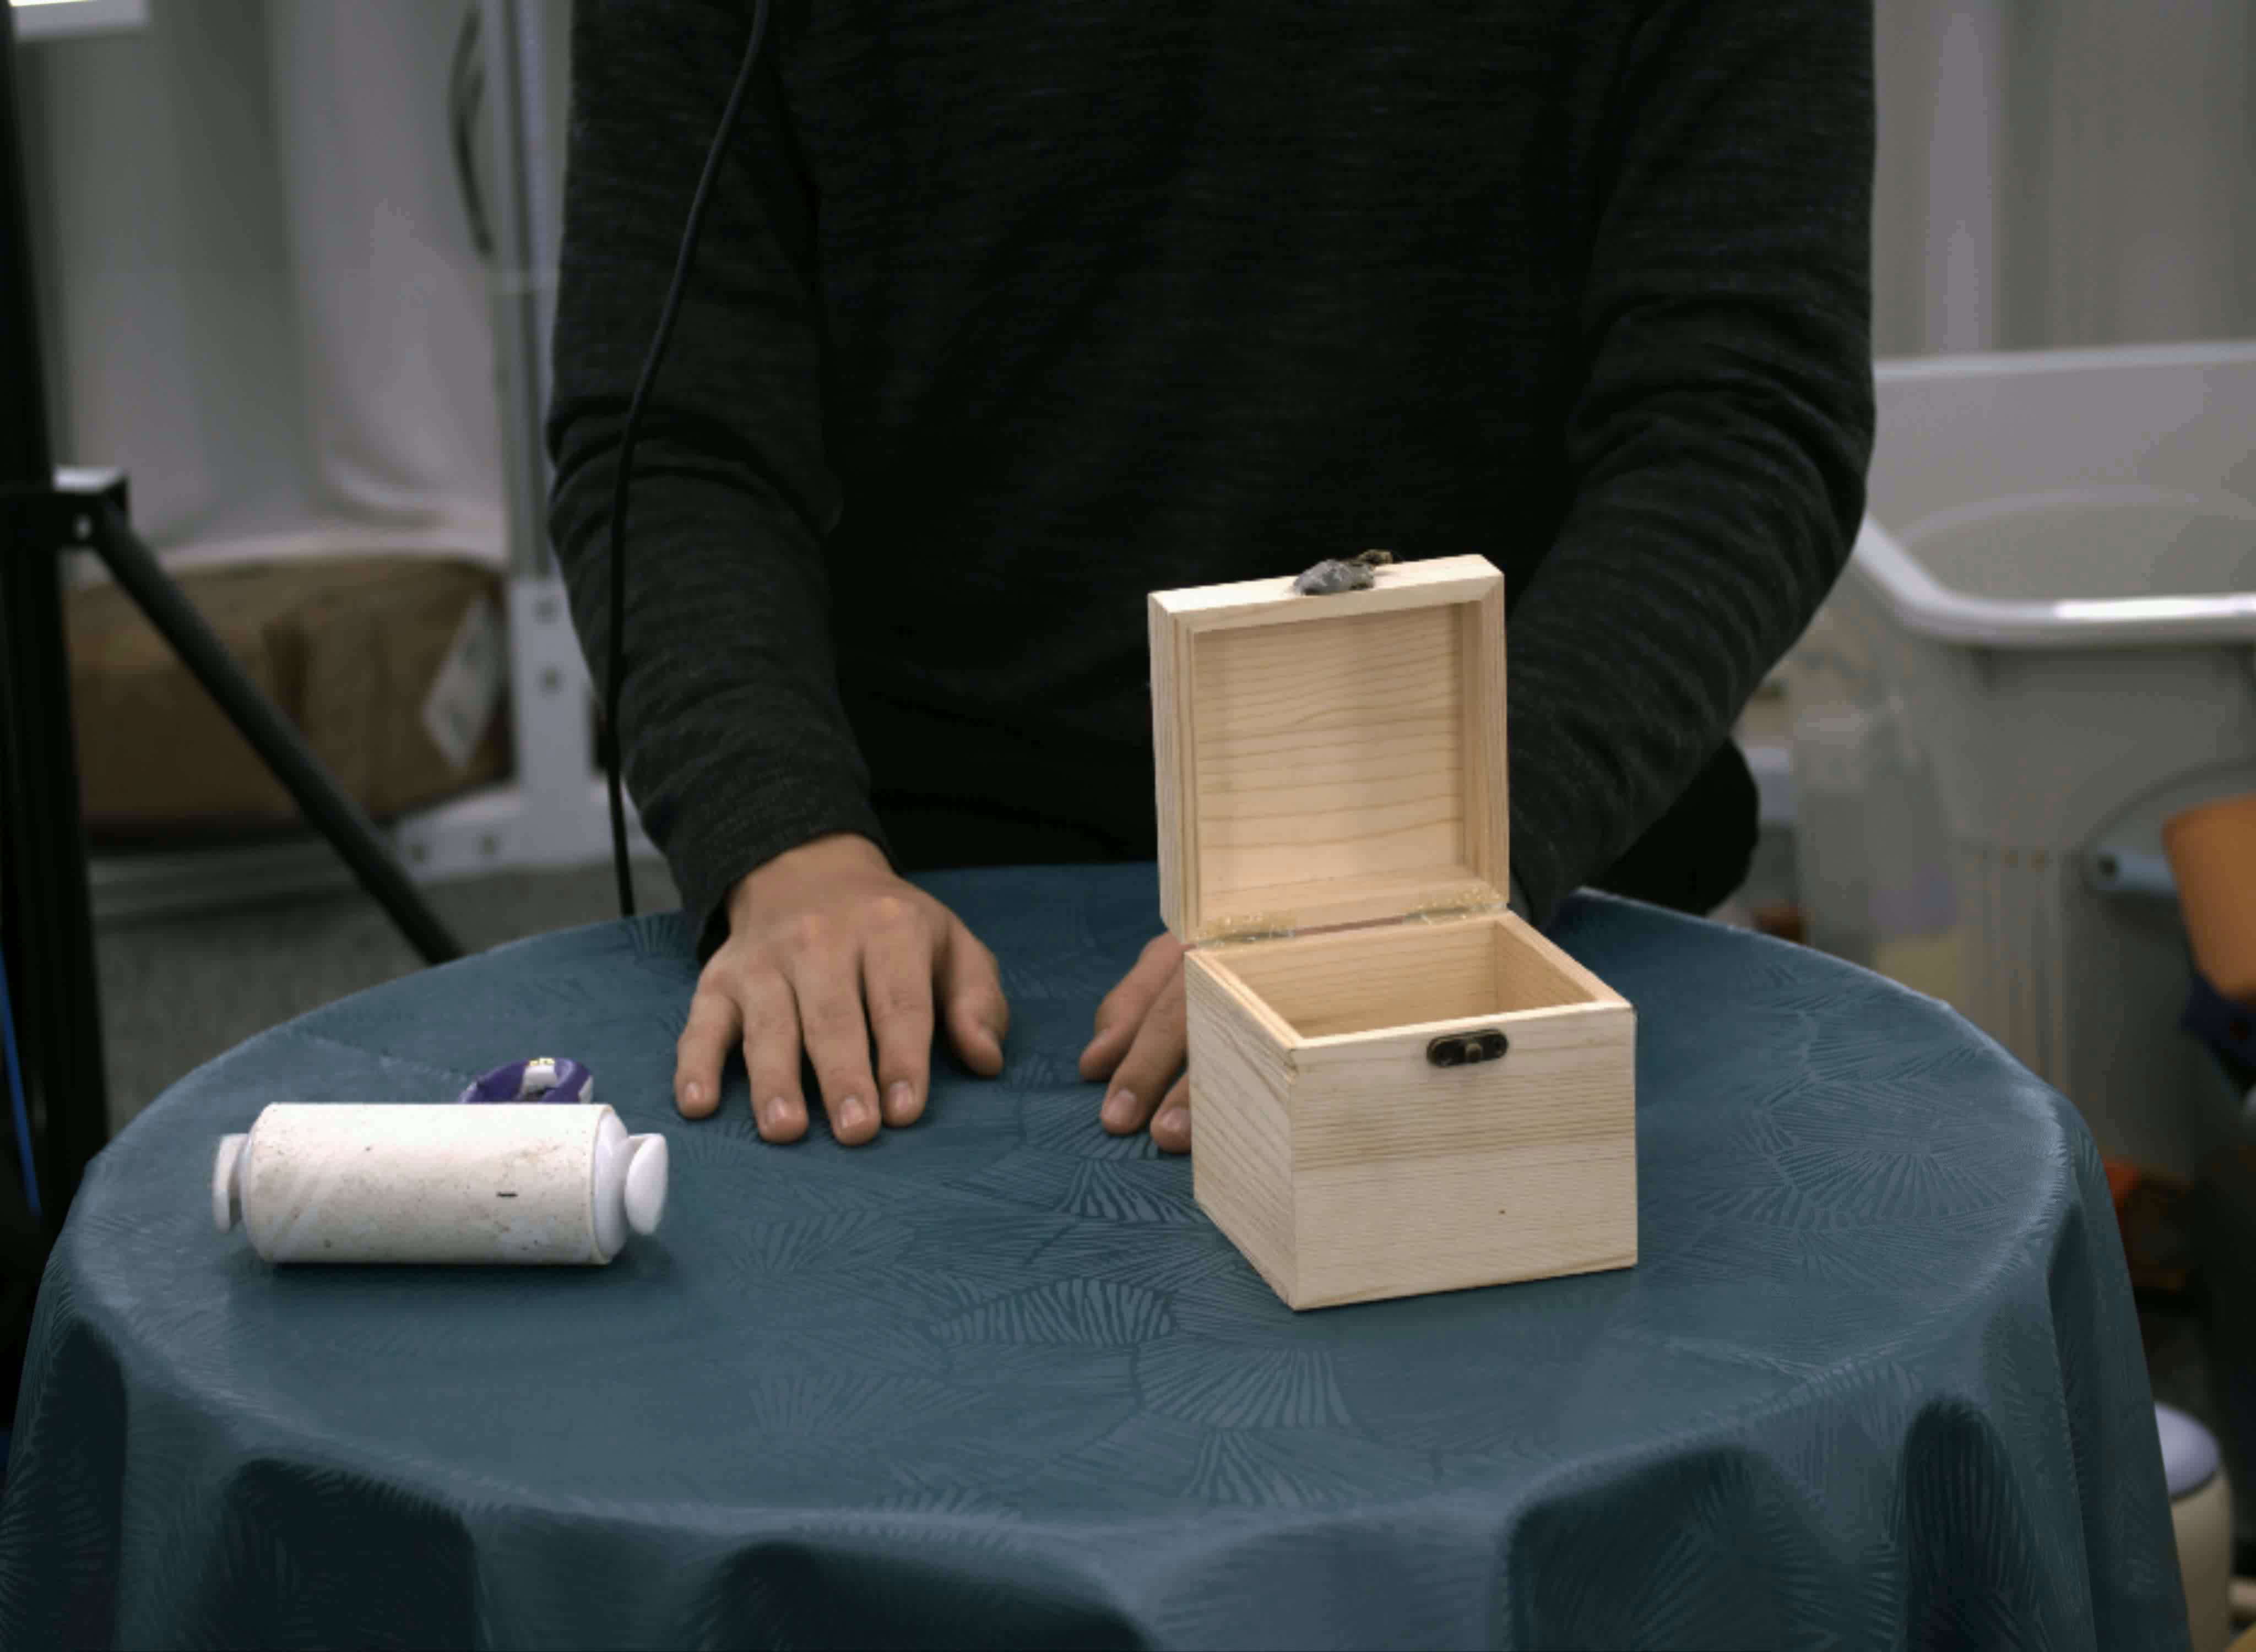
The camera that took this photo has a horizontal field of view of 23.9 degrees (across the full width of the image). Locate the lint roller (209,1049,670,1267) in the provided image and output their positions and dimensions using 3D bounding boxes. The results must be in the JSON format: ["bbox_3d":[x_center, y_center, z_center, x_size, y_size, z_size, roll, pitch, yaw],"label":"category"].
[{"bbox_3d":[-0.189,0.084,1.588,0.133,0.050,0.180,-1,18,9],"label":"lint roller"}]

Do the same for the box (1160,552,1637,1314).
[{"bbox_3d":[0.076,0.027,1.496,0.101,0.184,0.136,-6,15,-14],"label":"box"}]
